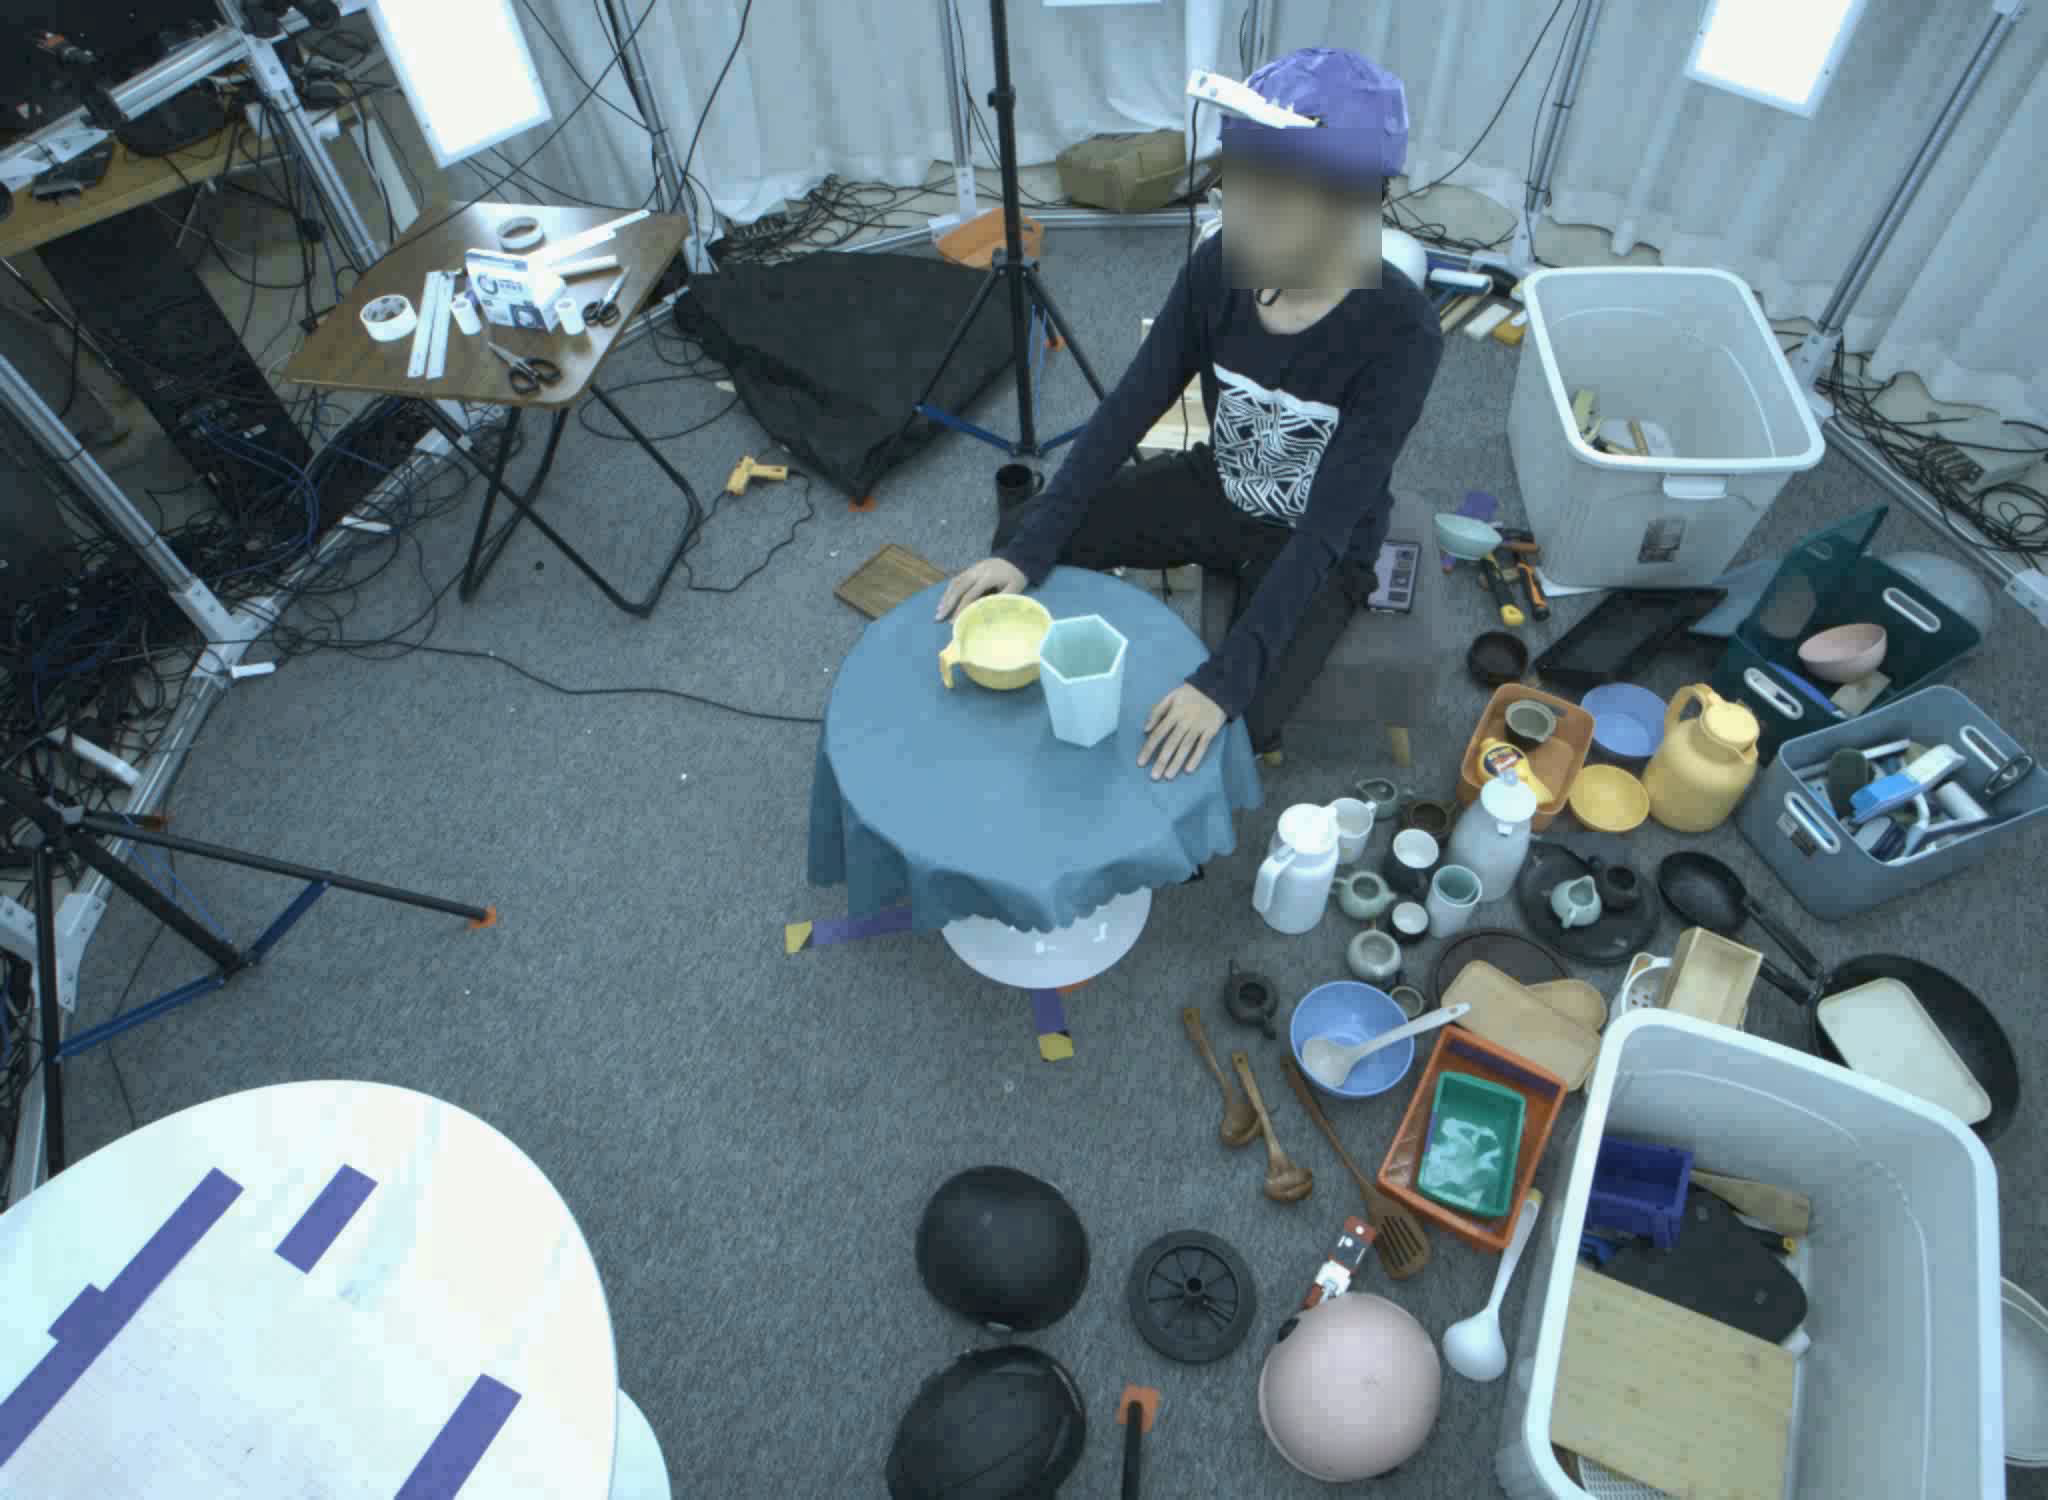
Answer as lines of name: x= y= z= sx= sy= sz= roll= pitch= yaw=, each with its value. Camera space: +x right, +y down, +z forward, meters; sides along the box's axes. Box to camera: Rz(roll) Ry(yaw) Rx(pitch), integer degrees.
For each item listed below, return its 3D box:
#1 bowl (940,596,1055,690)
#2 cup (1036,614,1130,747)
bowl: x=-0.040 y=-0.153 z=1.850 sx=0.181 sy=0.075 sz=0.150 roll=-26 pitch=57 yaw=-18
cup: x=0.084 y=-0.092 z=1.741 sx=0.116 sy=0.164 sz=0.128 roll=-35 pitch=60 yaw=-21
